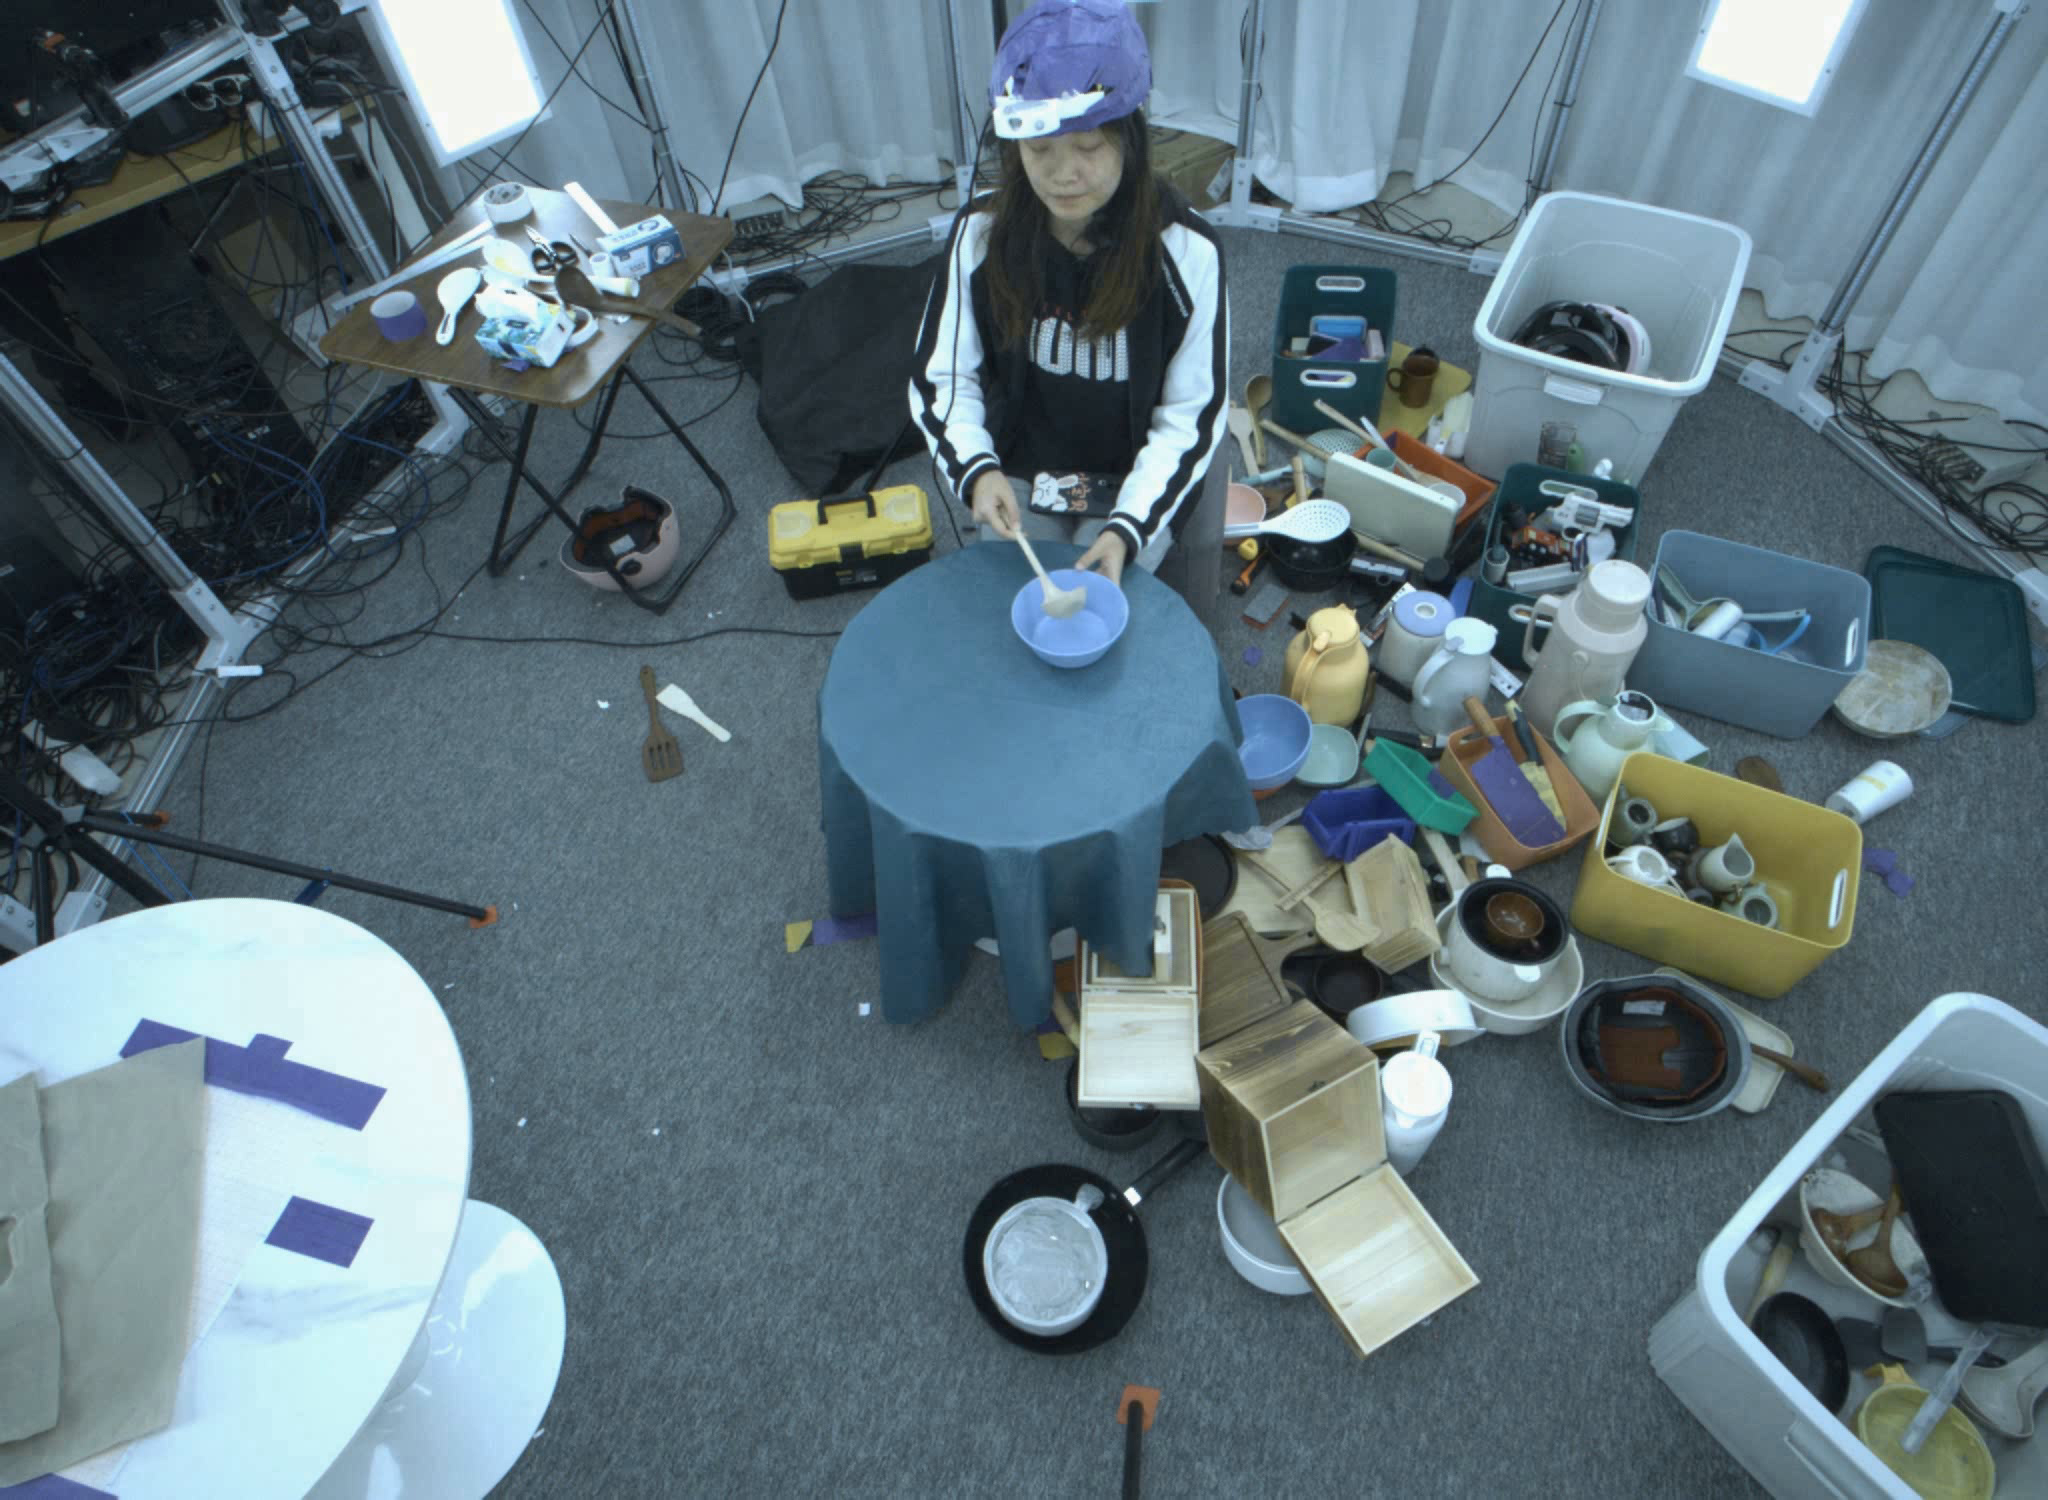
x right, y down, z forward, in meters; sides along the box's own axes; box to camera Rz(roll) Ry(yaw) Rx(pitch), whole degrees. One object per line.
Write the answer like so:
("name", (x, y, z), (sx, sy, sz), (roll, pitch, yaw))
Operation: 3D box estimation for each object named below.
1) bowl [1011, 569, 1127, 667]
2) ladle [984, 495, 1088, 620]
("bowl", (0.069, -0.192, 1.878), (0.176, 0.071, 0.174), (0, 55, 1))
("ladle", (0.008, -0.305, 1.830), (0.073, 0.073, 0.252), (-28, 75, -16))
